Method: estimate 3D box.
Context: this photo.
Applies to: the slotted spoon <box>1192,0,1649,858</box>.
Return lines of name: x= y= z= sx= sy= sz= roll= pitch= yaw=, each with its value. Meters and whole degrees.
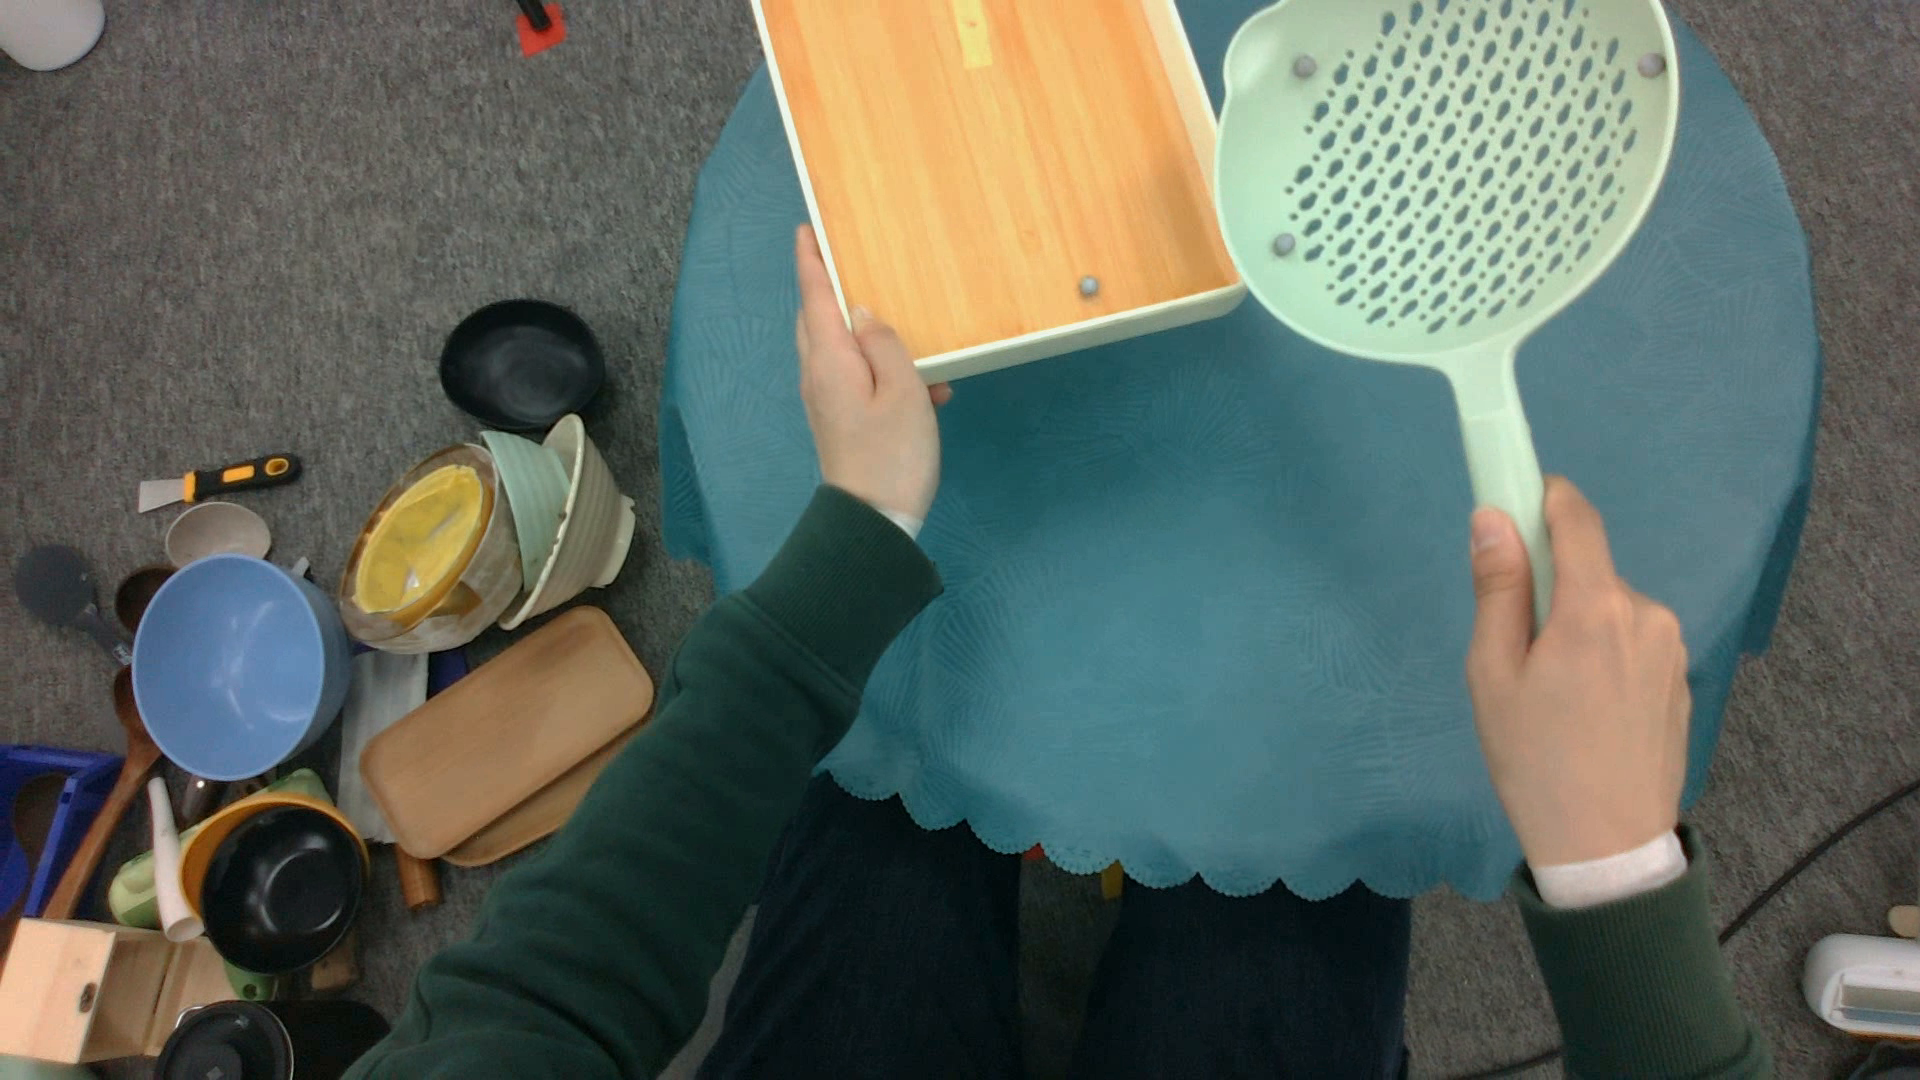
slotted spoon: x=0.187 y=-0.065 z=0.508 sx=0.168 sy=0.075 sz=0.359 roll=-16 pitch=72 yaw=36

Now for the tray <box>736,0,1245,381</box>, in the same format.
tray: x=0.000 y=-0.230 z=0.646 sx=0.192 sy=0.027 sz=0.301 roll=-14 pitch=74 yaw=-8
